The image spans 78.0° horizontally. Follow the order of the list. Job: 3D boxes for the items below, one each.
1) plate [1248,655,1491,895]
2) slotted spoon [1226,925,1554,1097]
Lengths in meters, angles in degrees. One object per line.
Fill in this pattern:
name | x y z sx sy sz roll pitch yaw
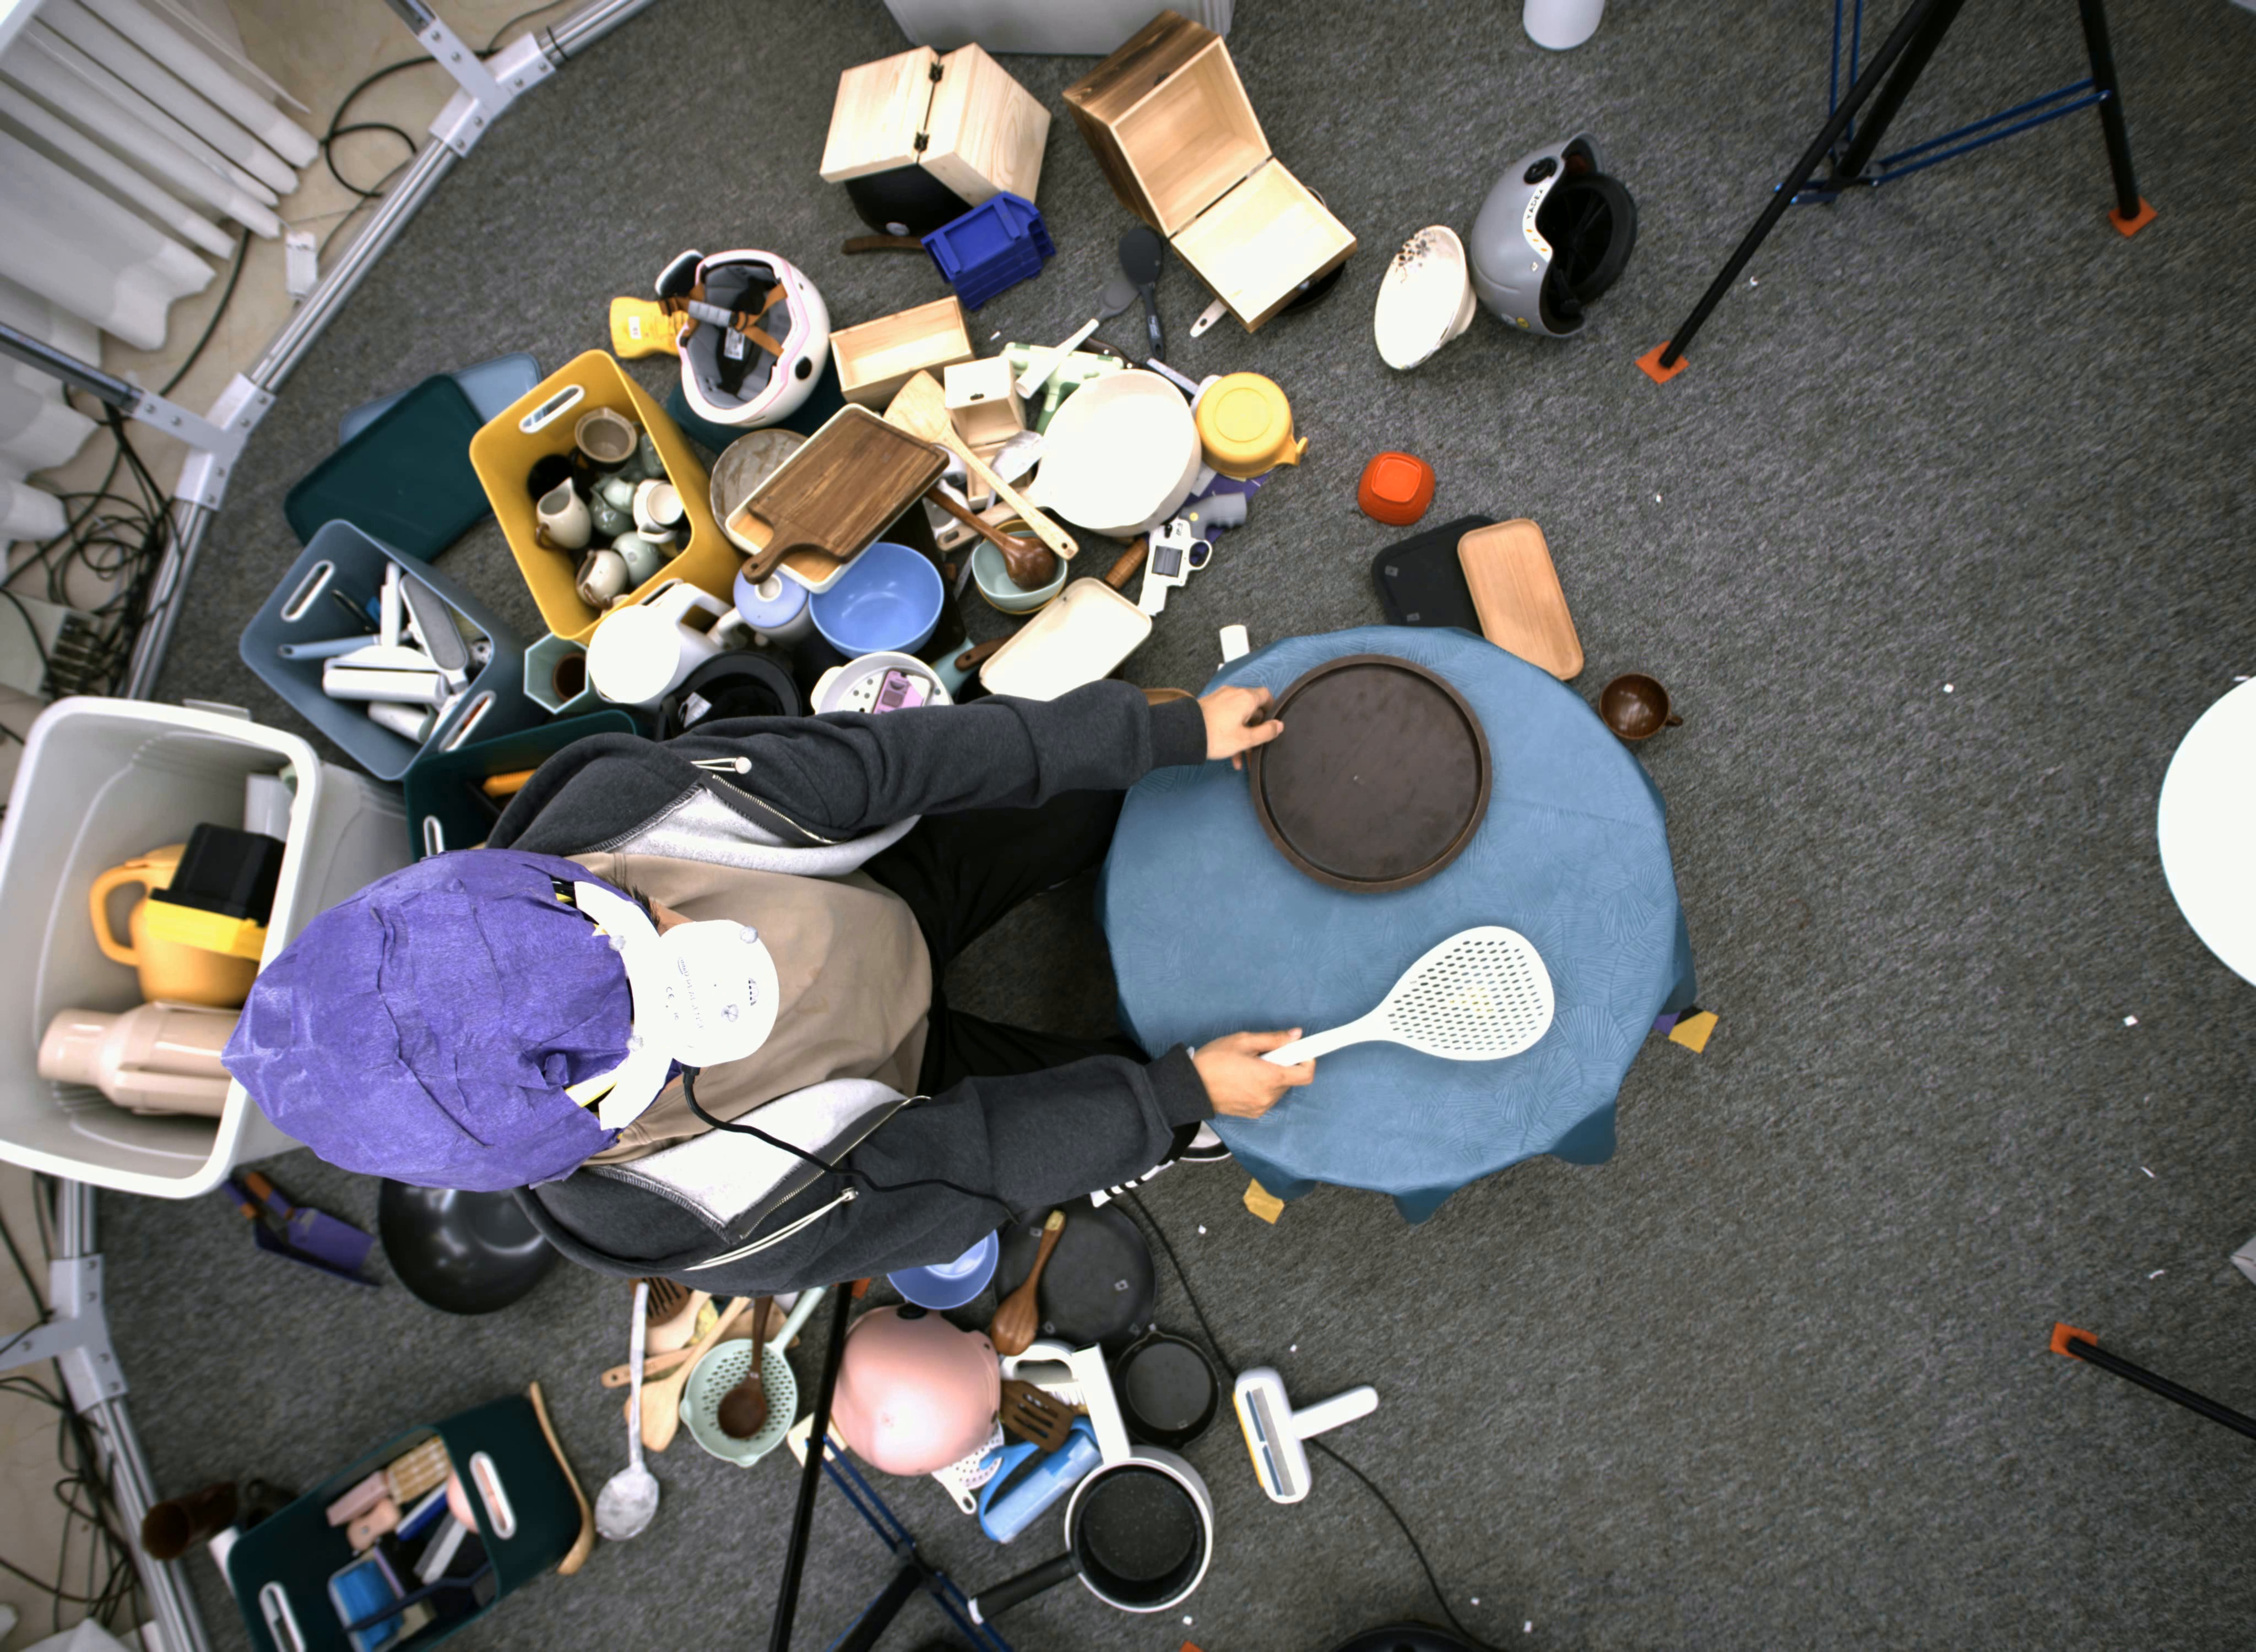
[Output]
plate | 0.253 -0.055 1.449 0.255 0.029 0.254 0 90 7
slotted spoon | 0.262 0.208 1.423 0.349 0.051 0.135 -19 71 5
